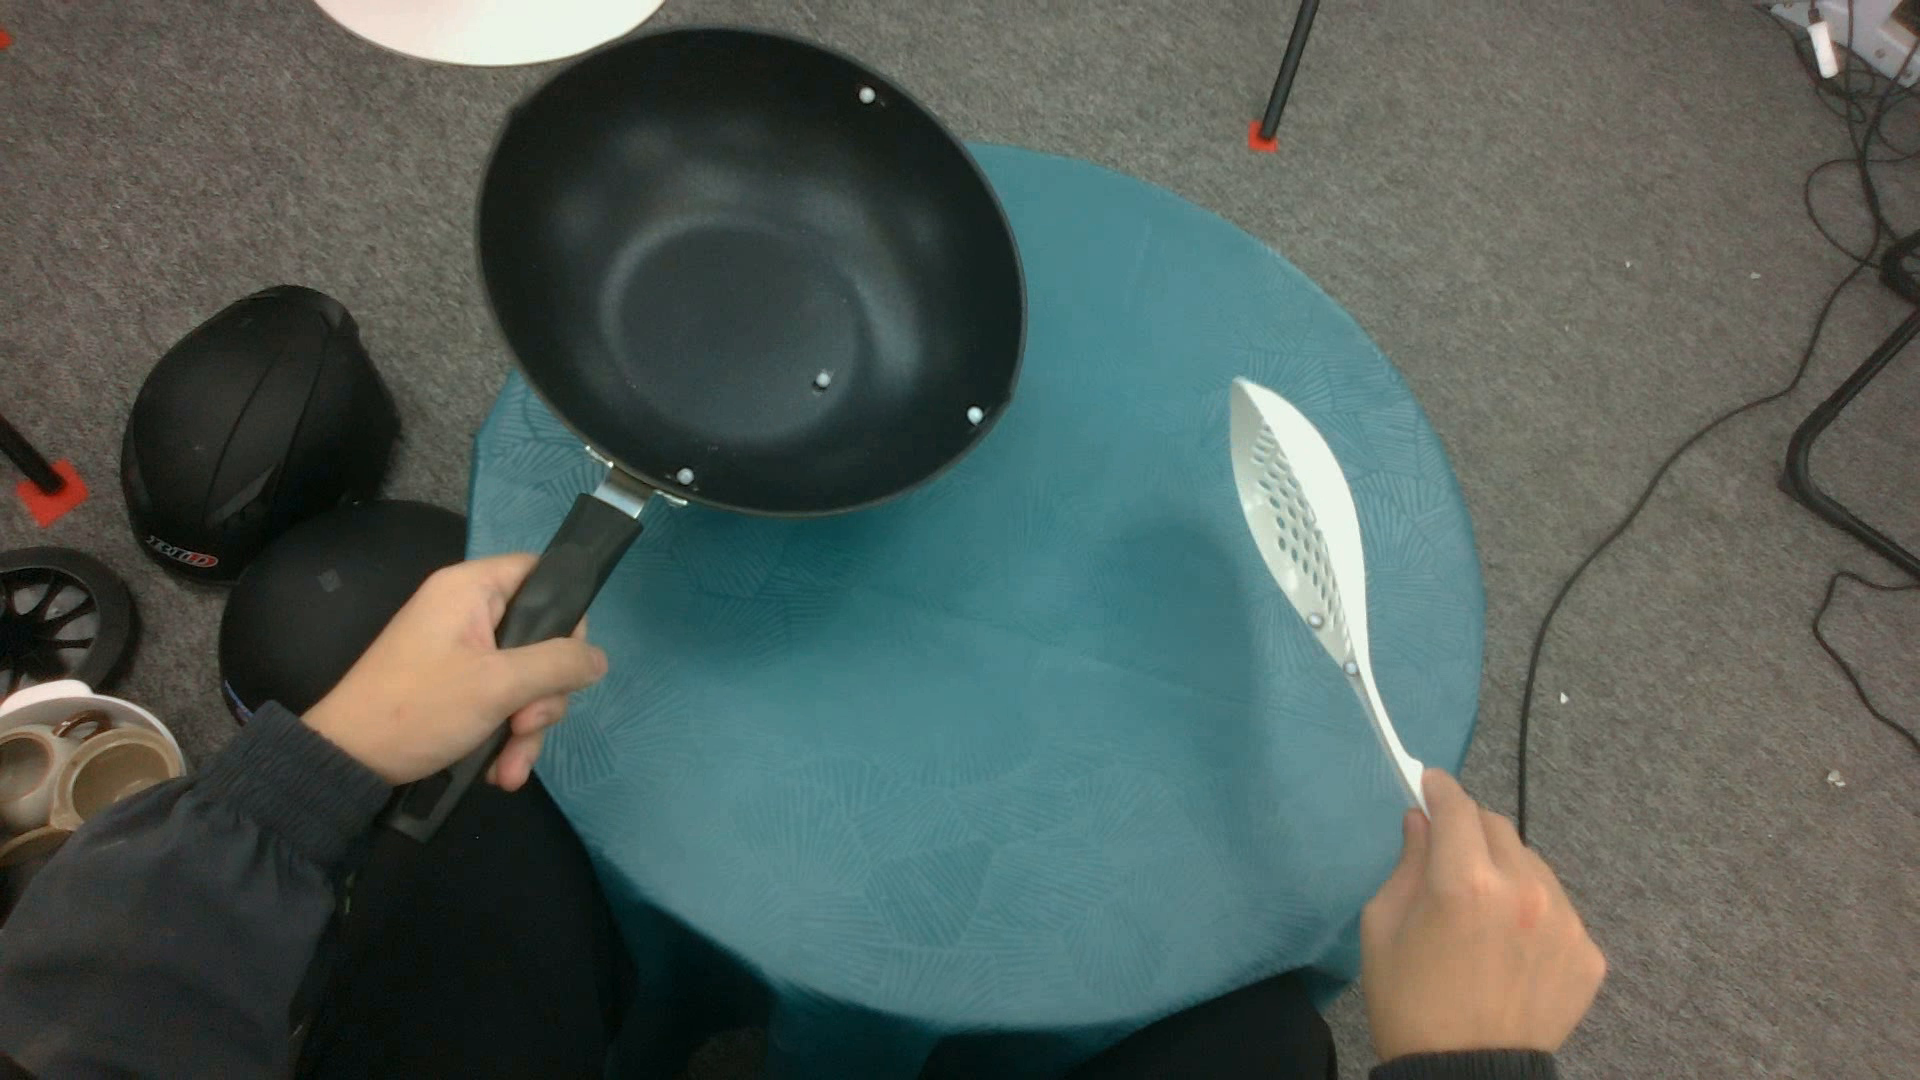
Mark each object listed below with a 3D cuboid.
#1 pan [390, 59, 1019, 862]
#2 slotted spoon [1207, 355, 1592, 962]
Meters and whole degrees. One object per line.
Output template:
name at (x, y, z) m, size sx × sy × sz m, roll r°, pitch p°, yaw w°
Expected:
pan at (-0.147, -0.045, 0.712) m, size 0.288 × 0.086 × 0.465 m, roll 27°, pitch 65°, yaw -6°
slotted spoon at (0.211, 0.052, 0.701) m, size 0.050 × 0.136 × 0.349 m, roll -14°, pitch 60°, yaw -6°
